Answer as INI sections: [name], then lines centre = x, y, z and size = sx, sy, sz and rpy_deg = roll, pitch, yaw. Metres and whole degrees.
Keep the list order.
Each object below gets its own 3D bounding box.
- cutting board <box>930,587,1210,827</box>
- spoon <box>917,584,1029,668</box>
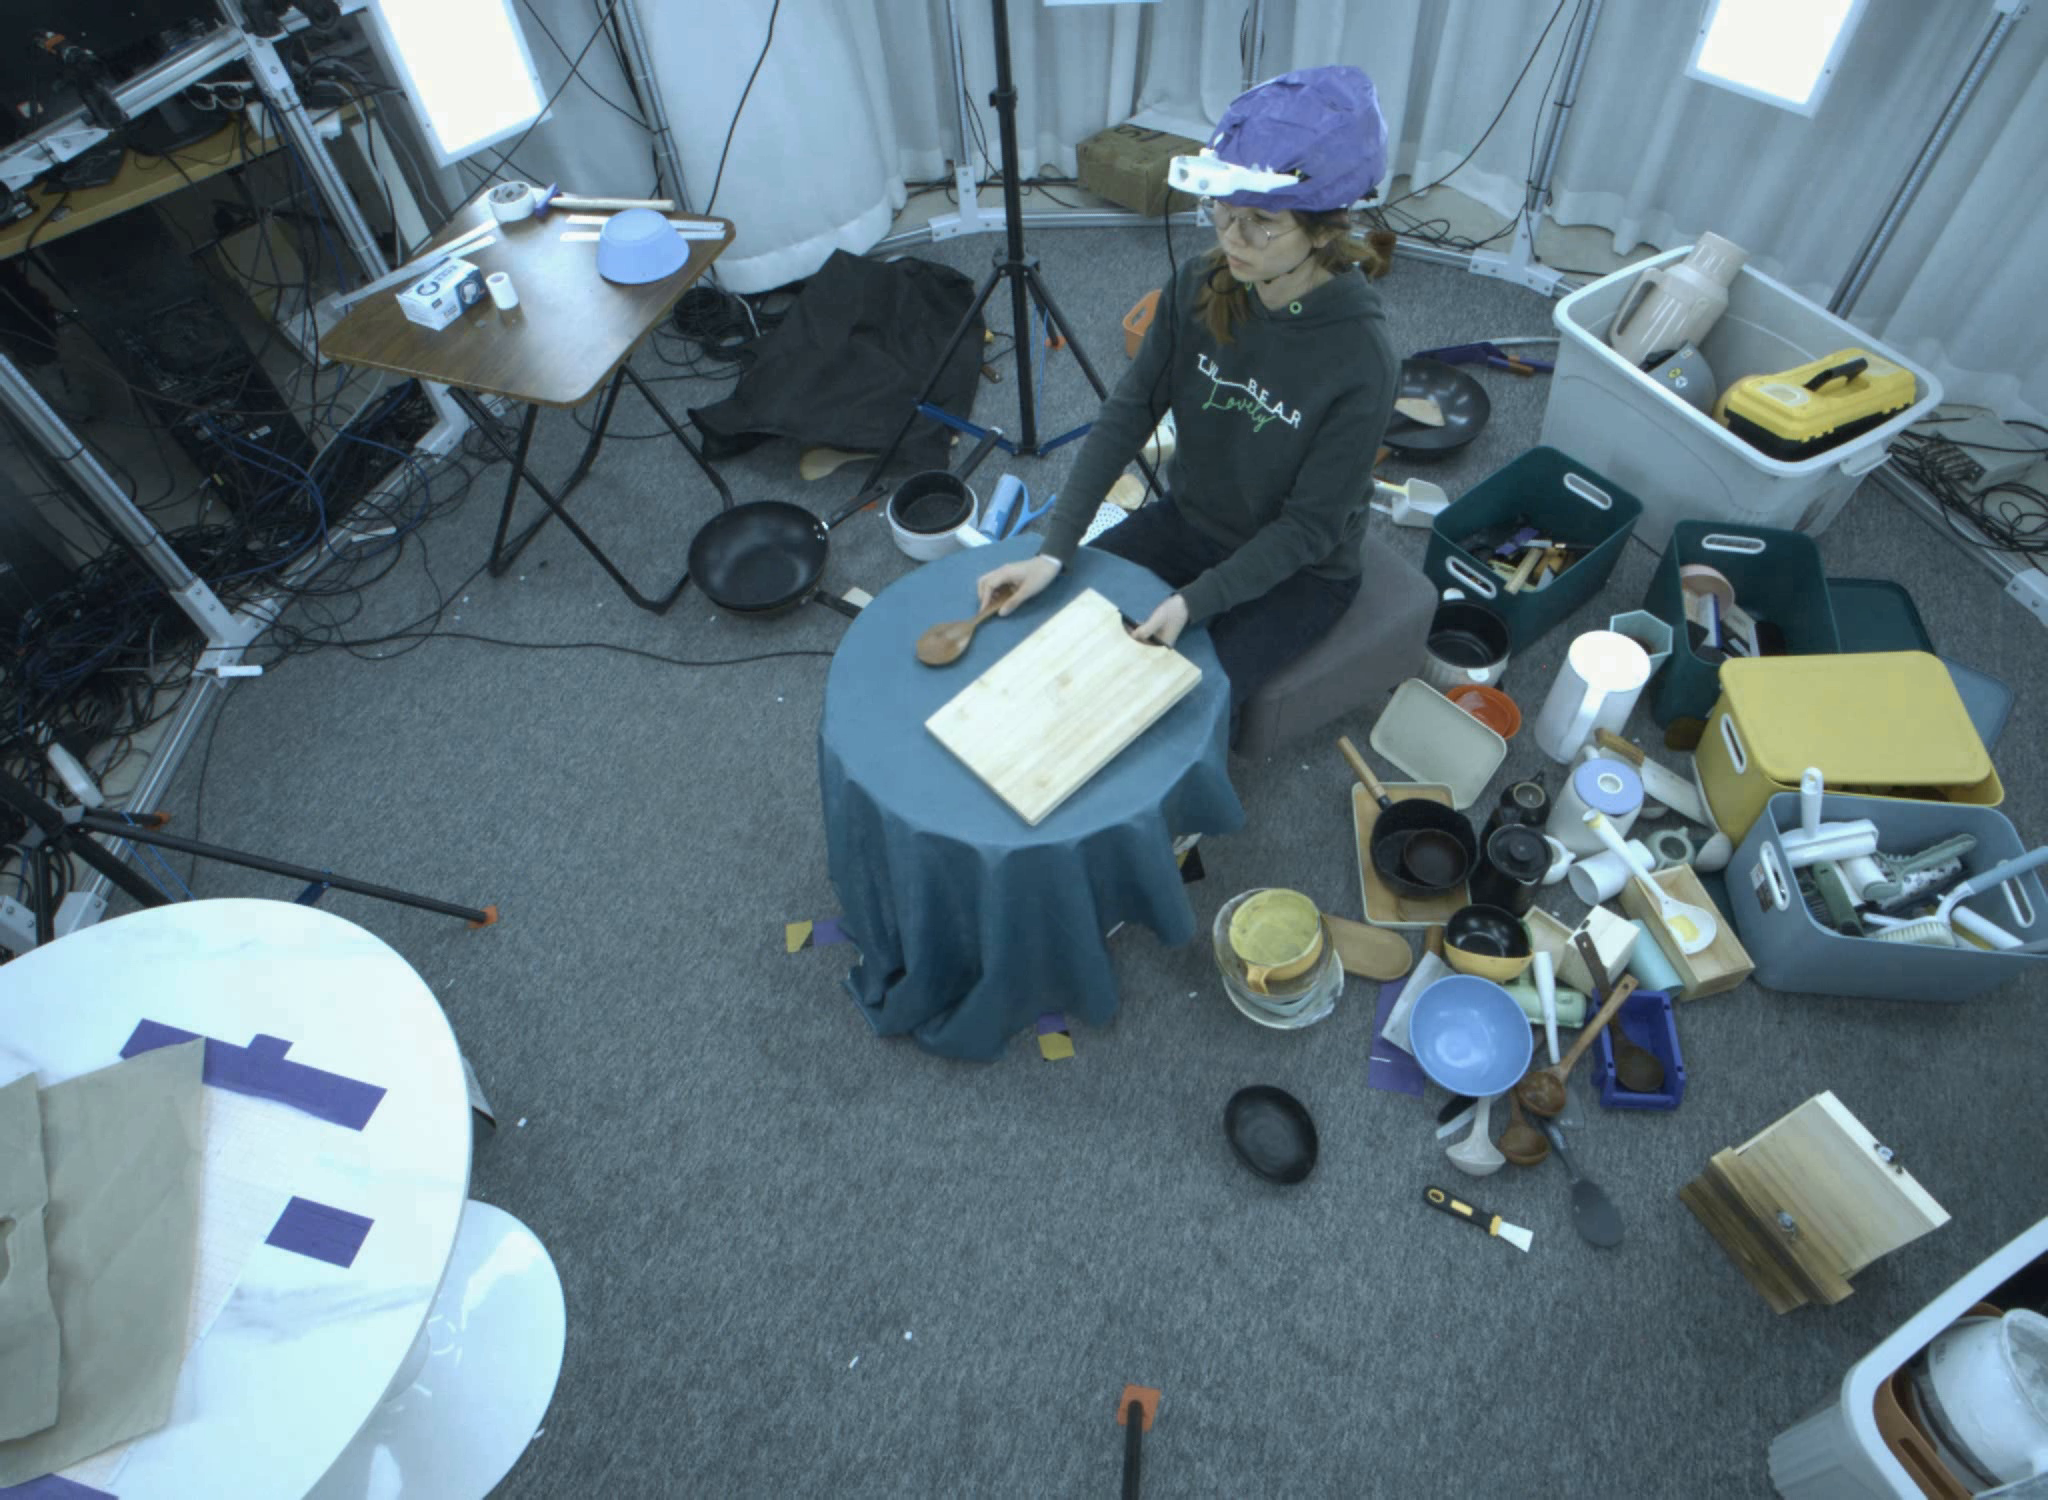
[cutting board]
centre = 0.065, -0.072, 1.811
size = 0.350, 0.024, 0.246
rpy_deg = -41, 64, -16
[spoon]
centre = -0.076, -0.195, 1.924
size = 0.217, 0.017, 0.074
rpy_deg = -39, 61, -20
